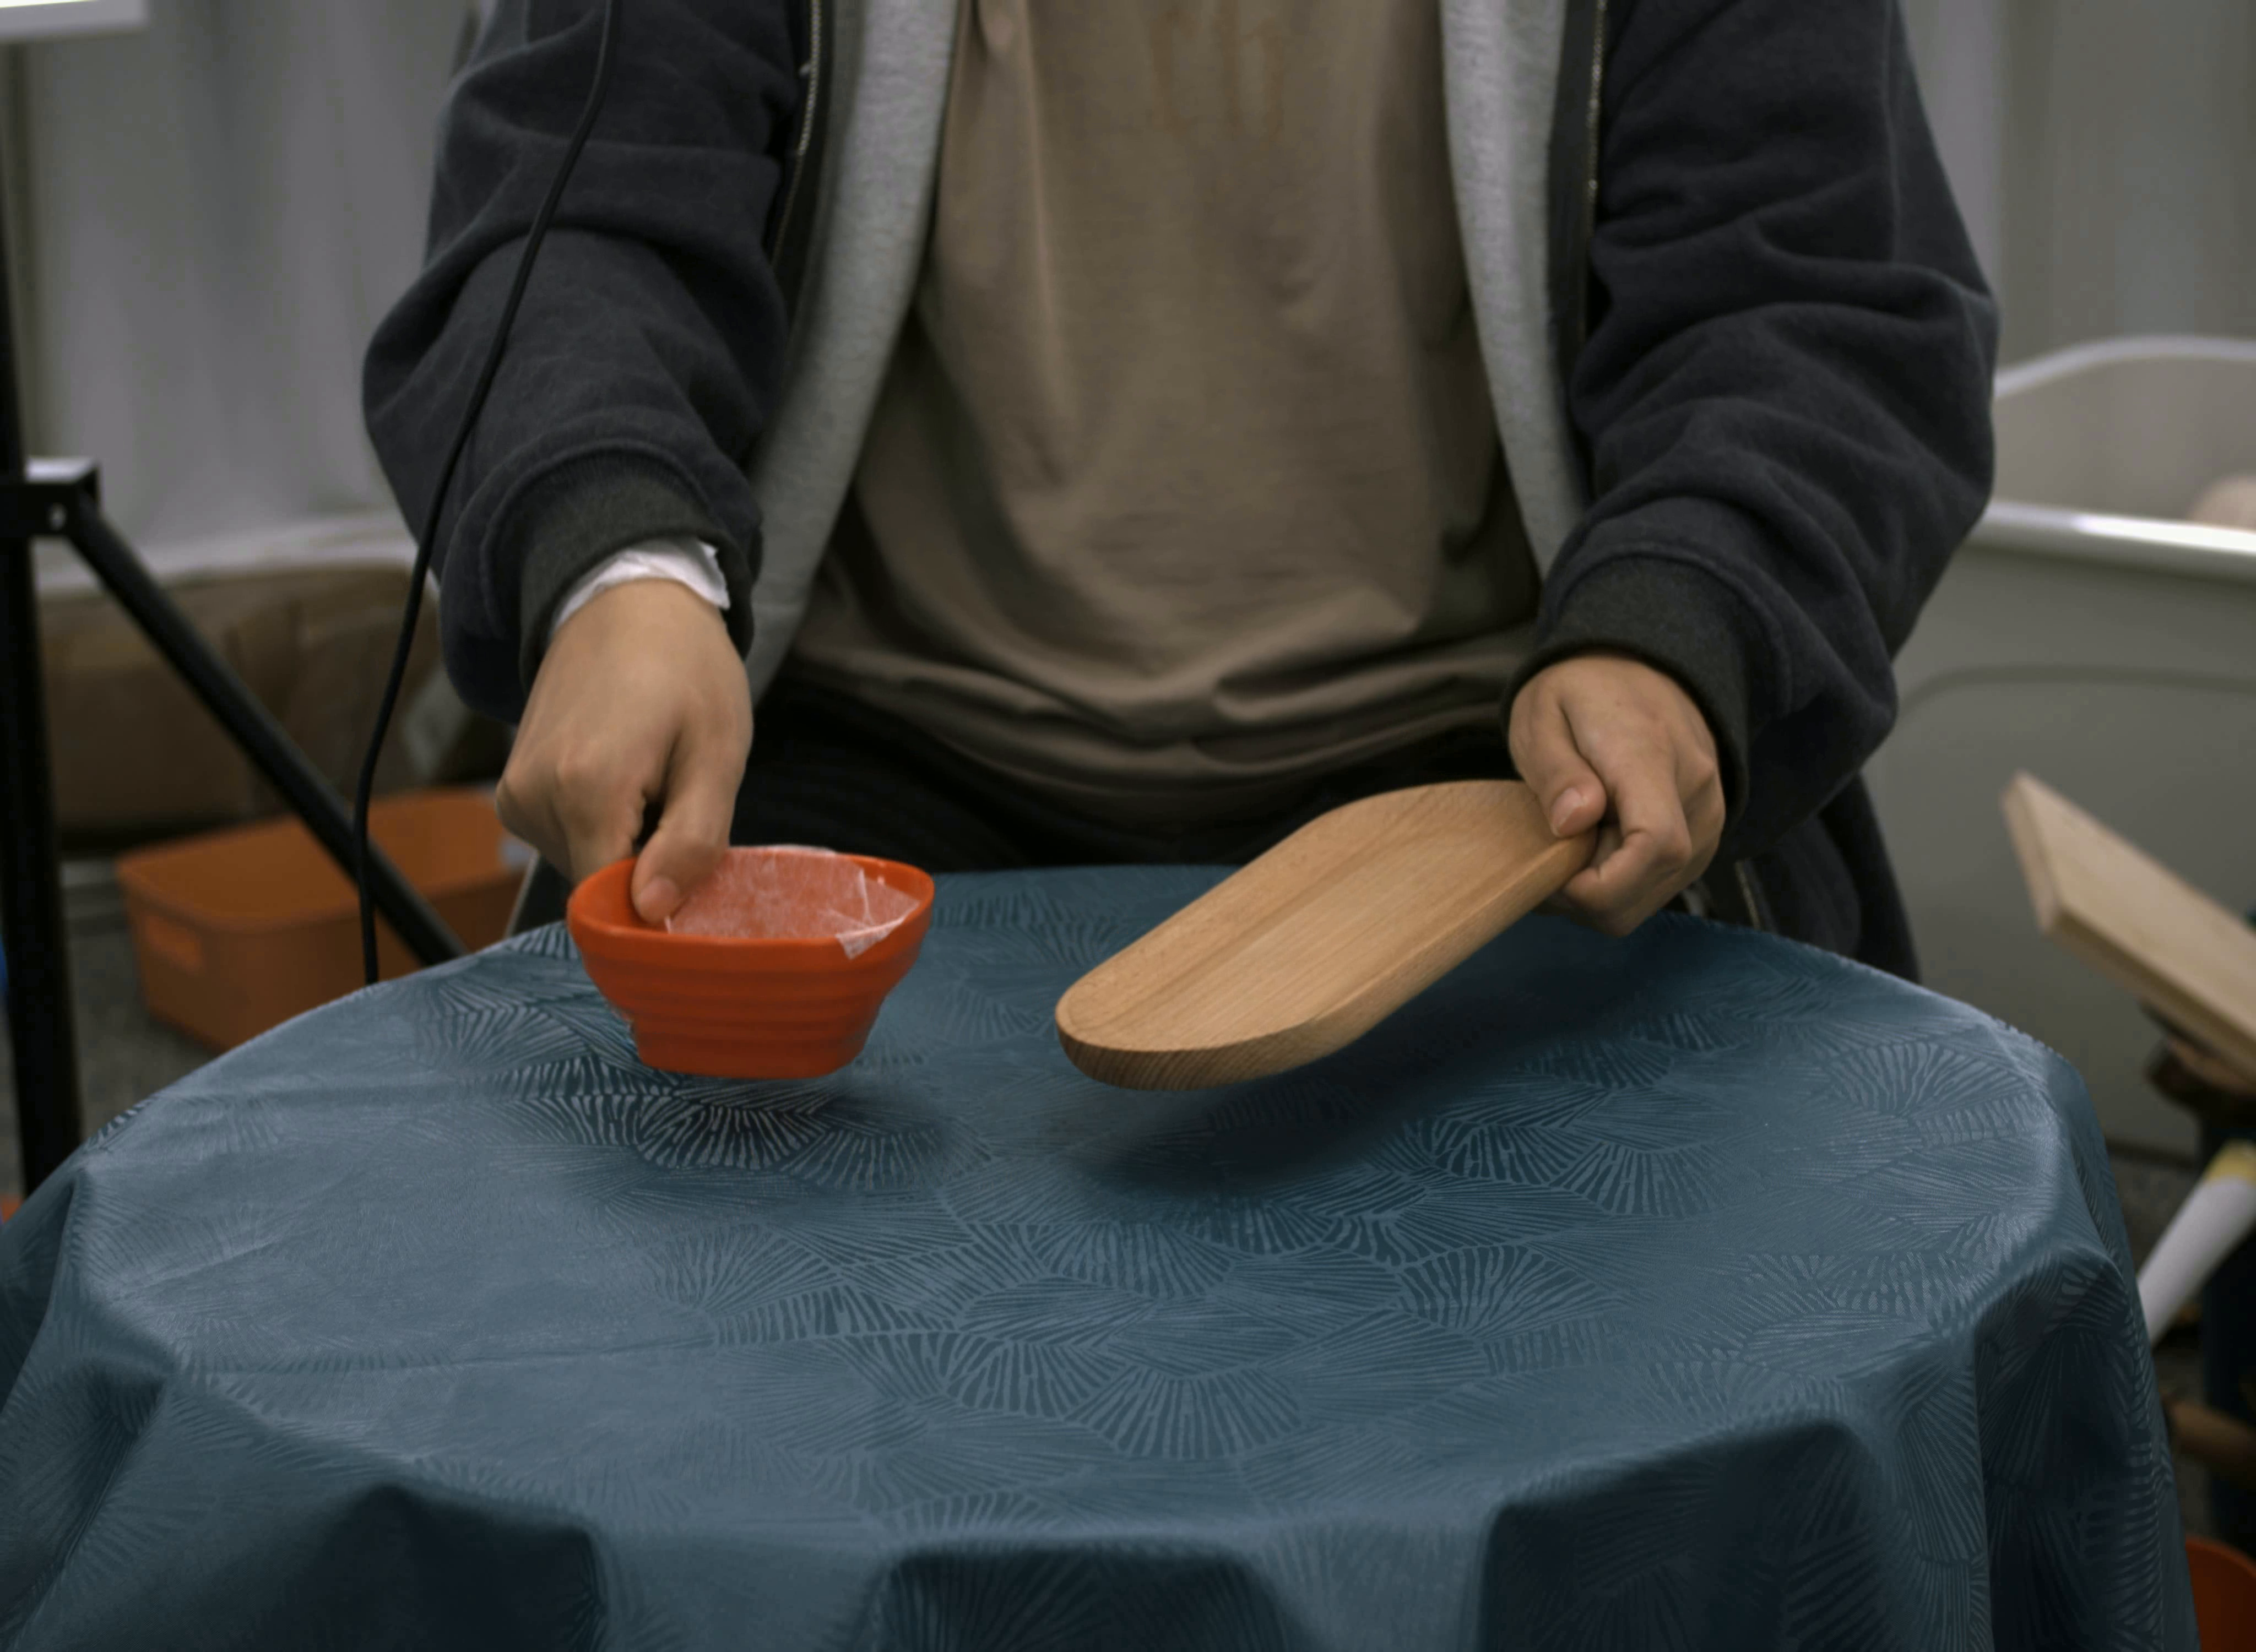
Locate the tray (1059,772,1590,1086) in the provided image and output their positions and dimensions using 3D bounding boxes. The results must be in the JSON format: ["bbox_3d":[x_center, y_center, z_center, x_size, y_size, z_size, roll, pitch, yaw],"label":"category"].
[{"bbox_3d":[0.063,0.030,1.634,0.103,0.020,0.227,2,21,33],"label":"tray"}]

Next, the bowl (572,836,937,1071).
[{"bbox_3d":[-0.114,0.041,1.639,0.118,0.051,0.119,-1,15,-1],"label":"bowl"}]
